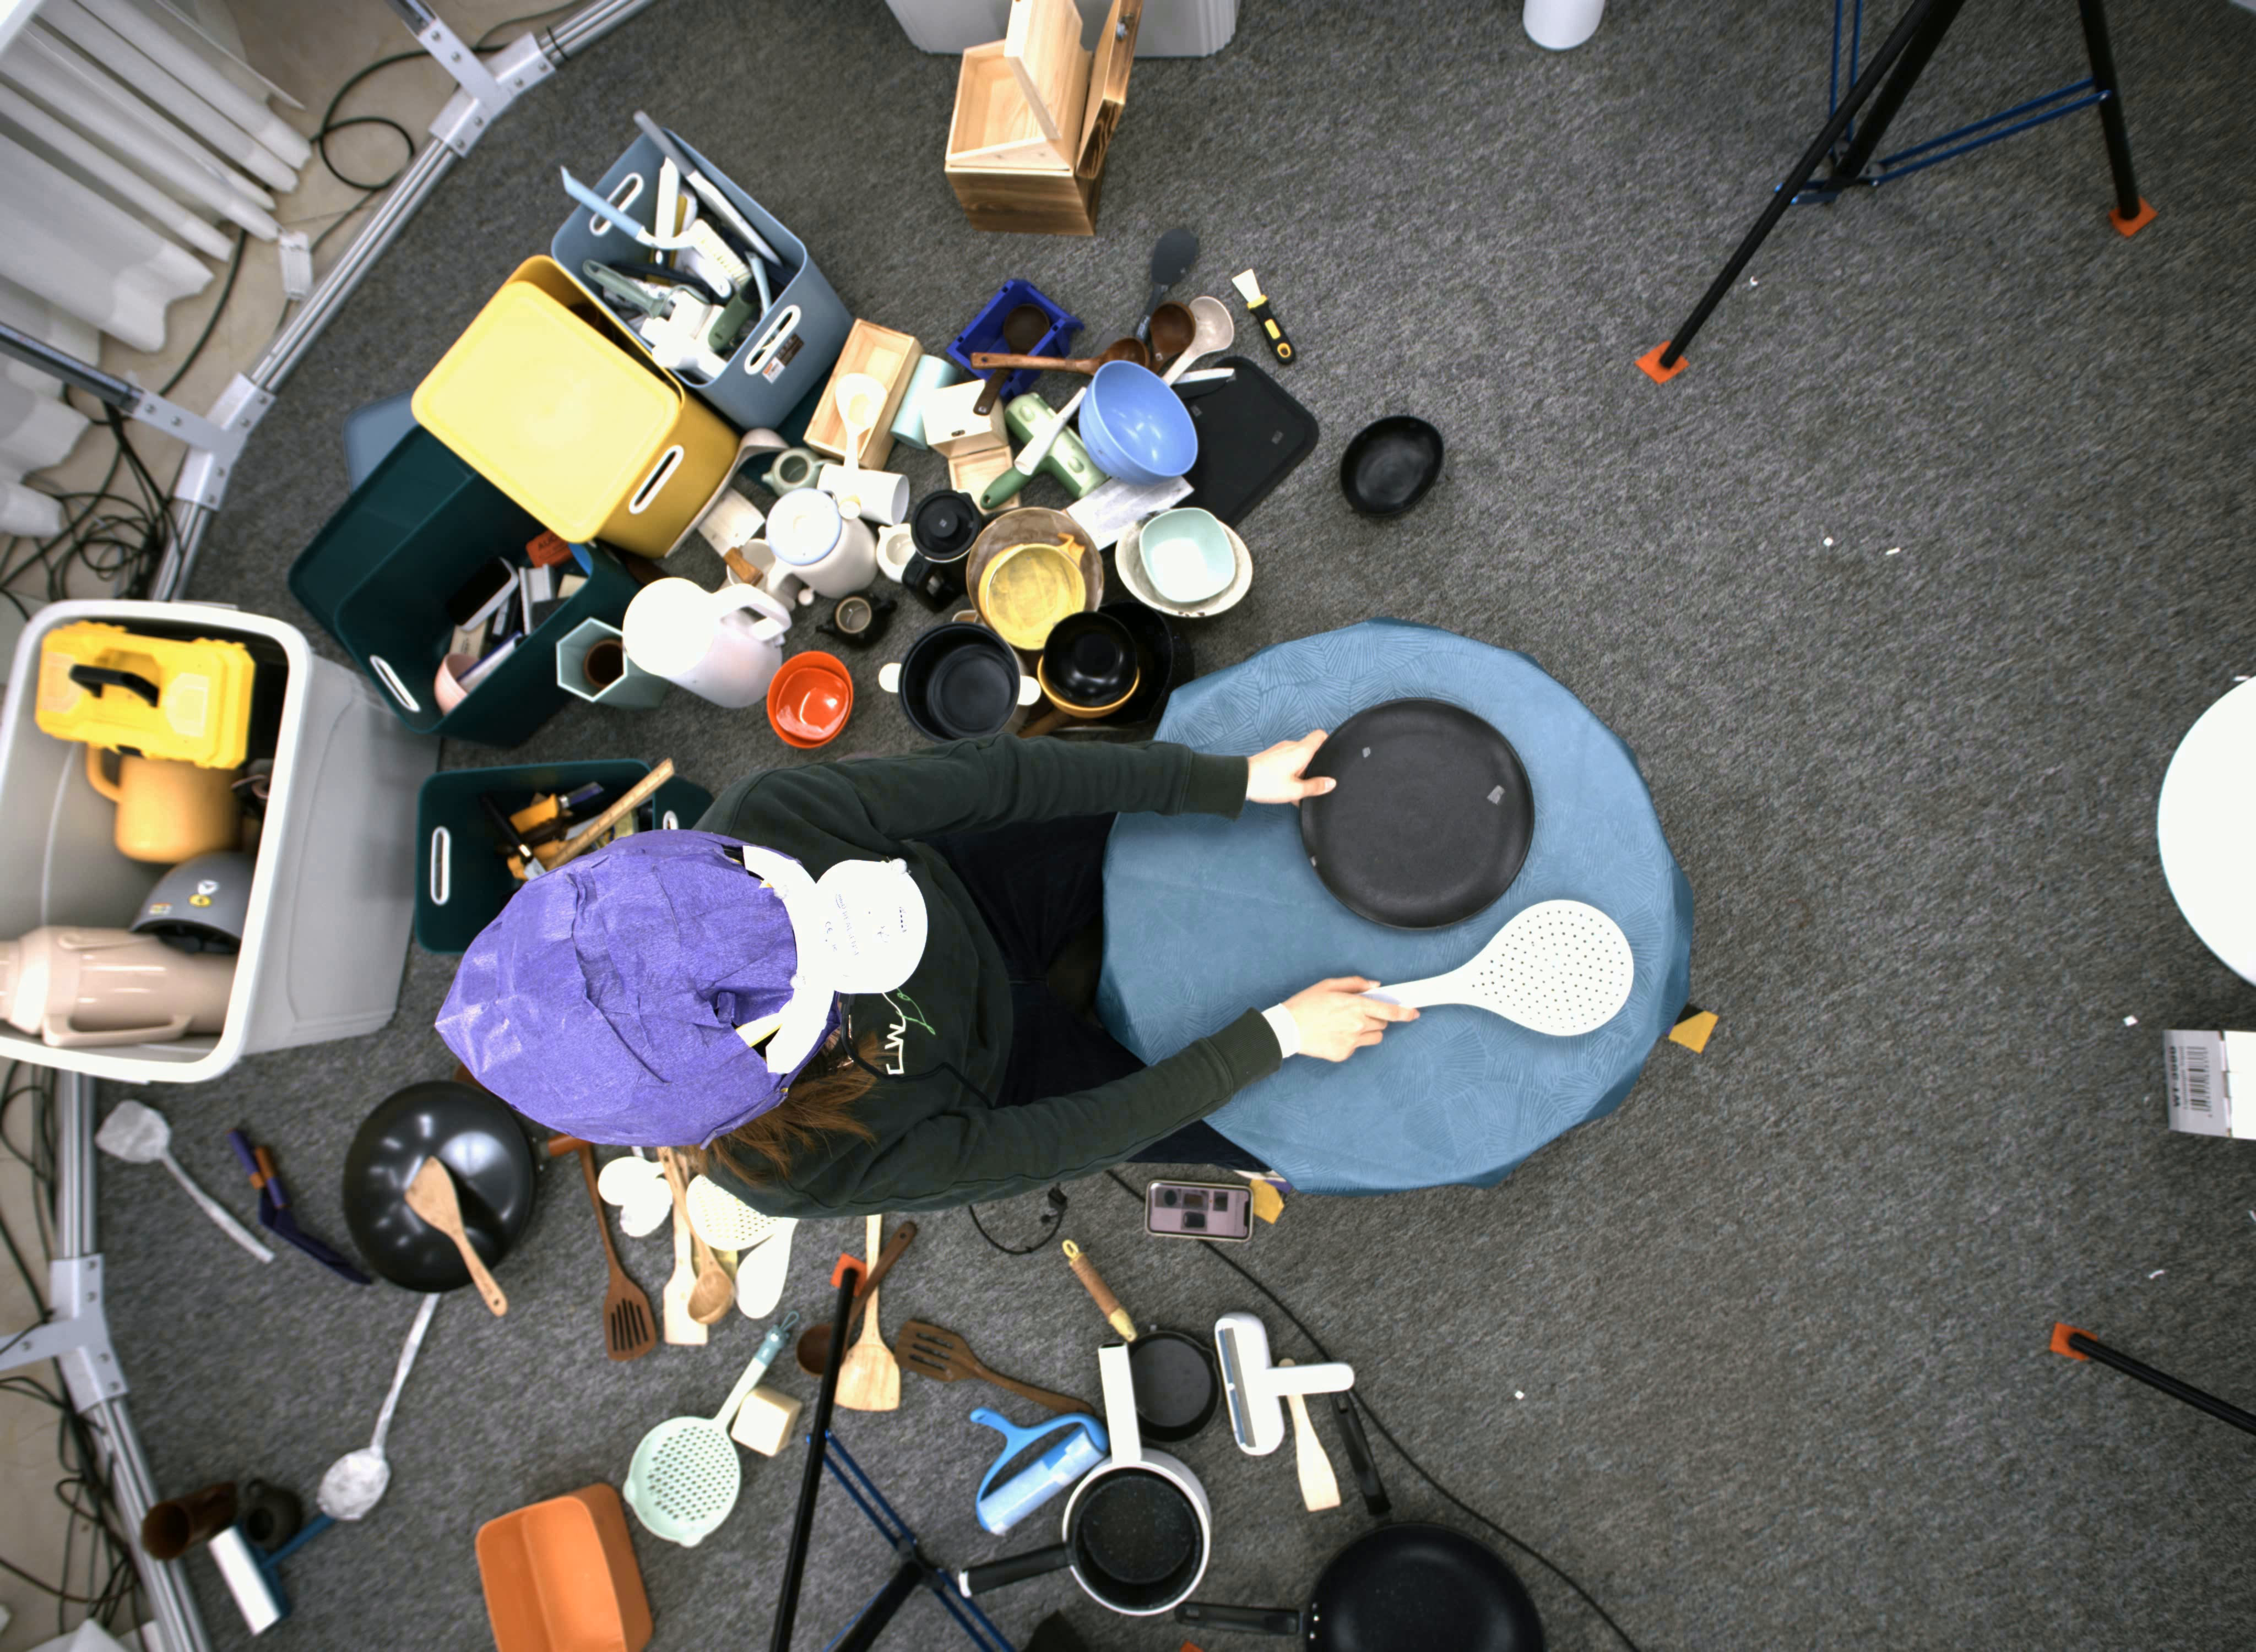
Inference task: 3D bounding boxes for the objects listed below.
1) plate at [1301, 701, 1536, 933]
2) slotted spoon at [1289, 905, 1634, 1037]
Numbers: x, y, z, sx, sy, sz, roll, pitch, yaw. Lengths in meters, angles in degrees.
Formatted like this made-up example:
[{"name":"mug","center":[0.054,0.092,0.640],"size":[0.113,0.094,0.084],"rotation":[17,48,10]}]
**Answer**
[{"name":"plate","center":[0.303,-0.011,1.444],"size":[0.245,0.023,0.244],"rotation":[0,90,6]},{"name":"slotted spoon","center":[0.338,0.167,1.420],"size":[0.351,0.046,0.134],"rotation":[-10,73,9]}]
